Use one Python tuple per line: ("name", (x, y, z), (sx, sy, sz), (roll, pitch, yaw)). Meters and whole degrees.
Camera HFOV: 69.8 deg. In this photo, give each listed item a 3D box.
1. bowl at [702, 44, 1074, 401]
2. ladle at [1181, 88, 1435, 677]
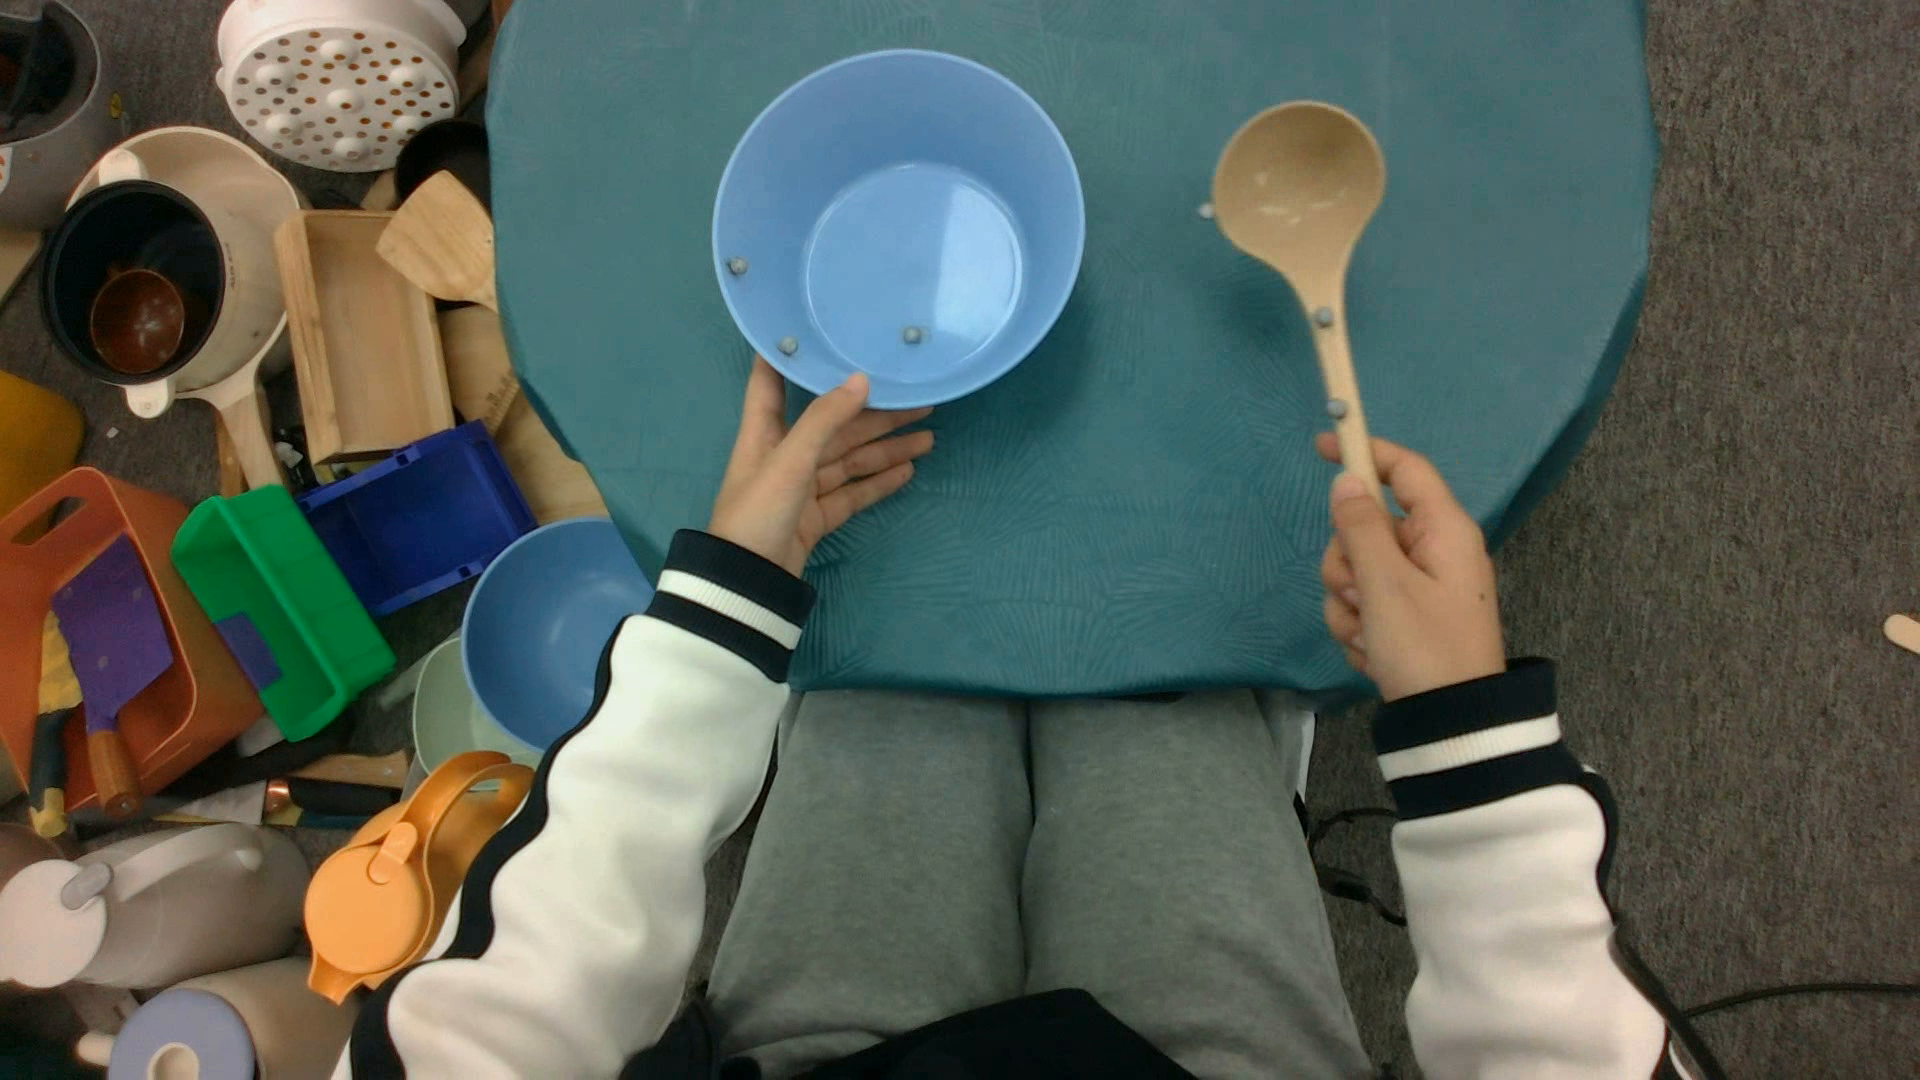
("bowl", (-0.031, -0.145, 0.673), (0.176, 0.070, 0.176), (-1, 80, 6))
("ladle", (0.148, -0.073, 0.560), (0.072, 0.072, 0.255), (-16, 64, 13))
